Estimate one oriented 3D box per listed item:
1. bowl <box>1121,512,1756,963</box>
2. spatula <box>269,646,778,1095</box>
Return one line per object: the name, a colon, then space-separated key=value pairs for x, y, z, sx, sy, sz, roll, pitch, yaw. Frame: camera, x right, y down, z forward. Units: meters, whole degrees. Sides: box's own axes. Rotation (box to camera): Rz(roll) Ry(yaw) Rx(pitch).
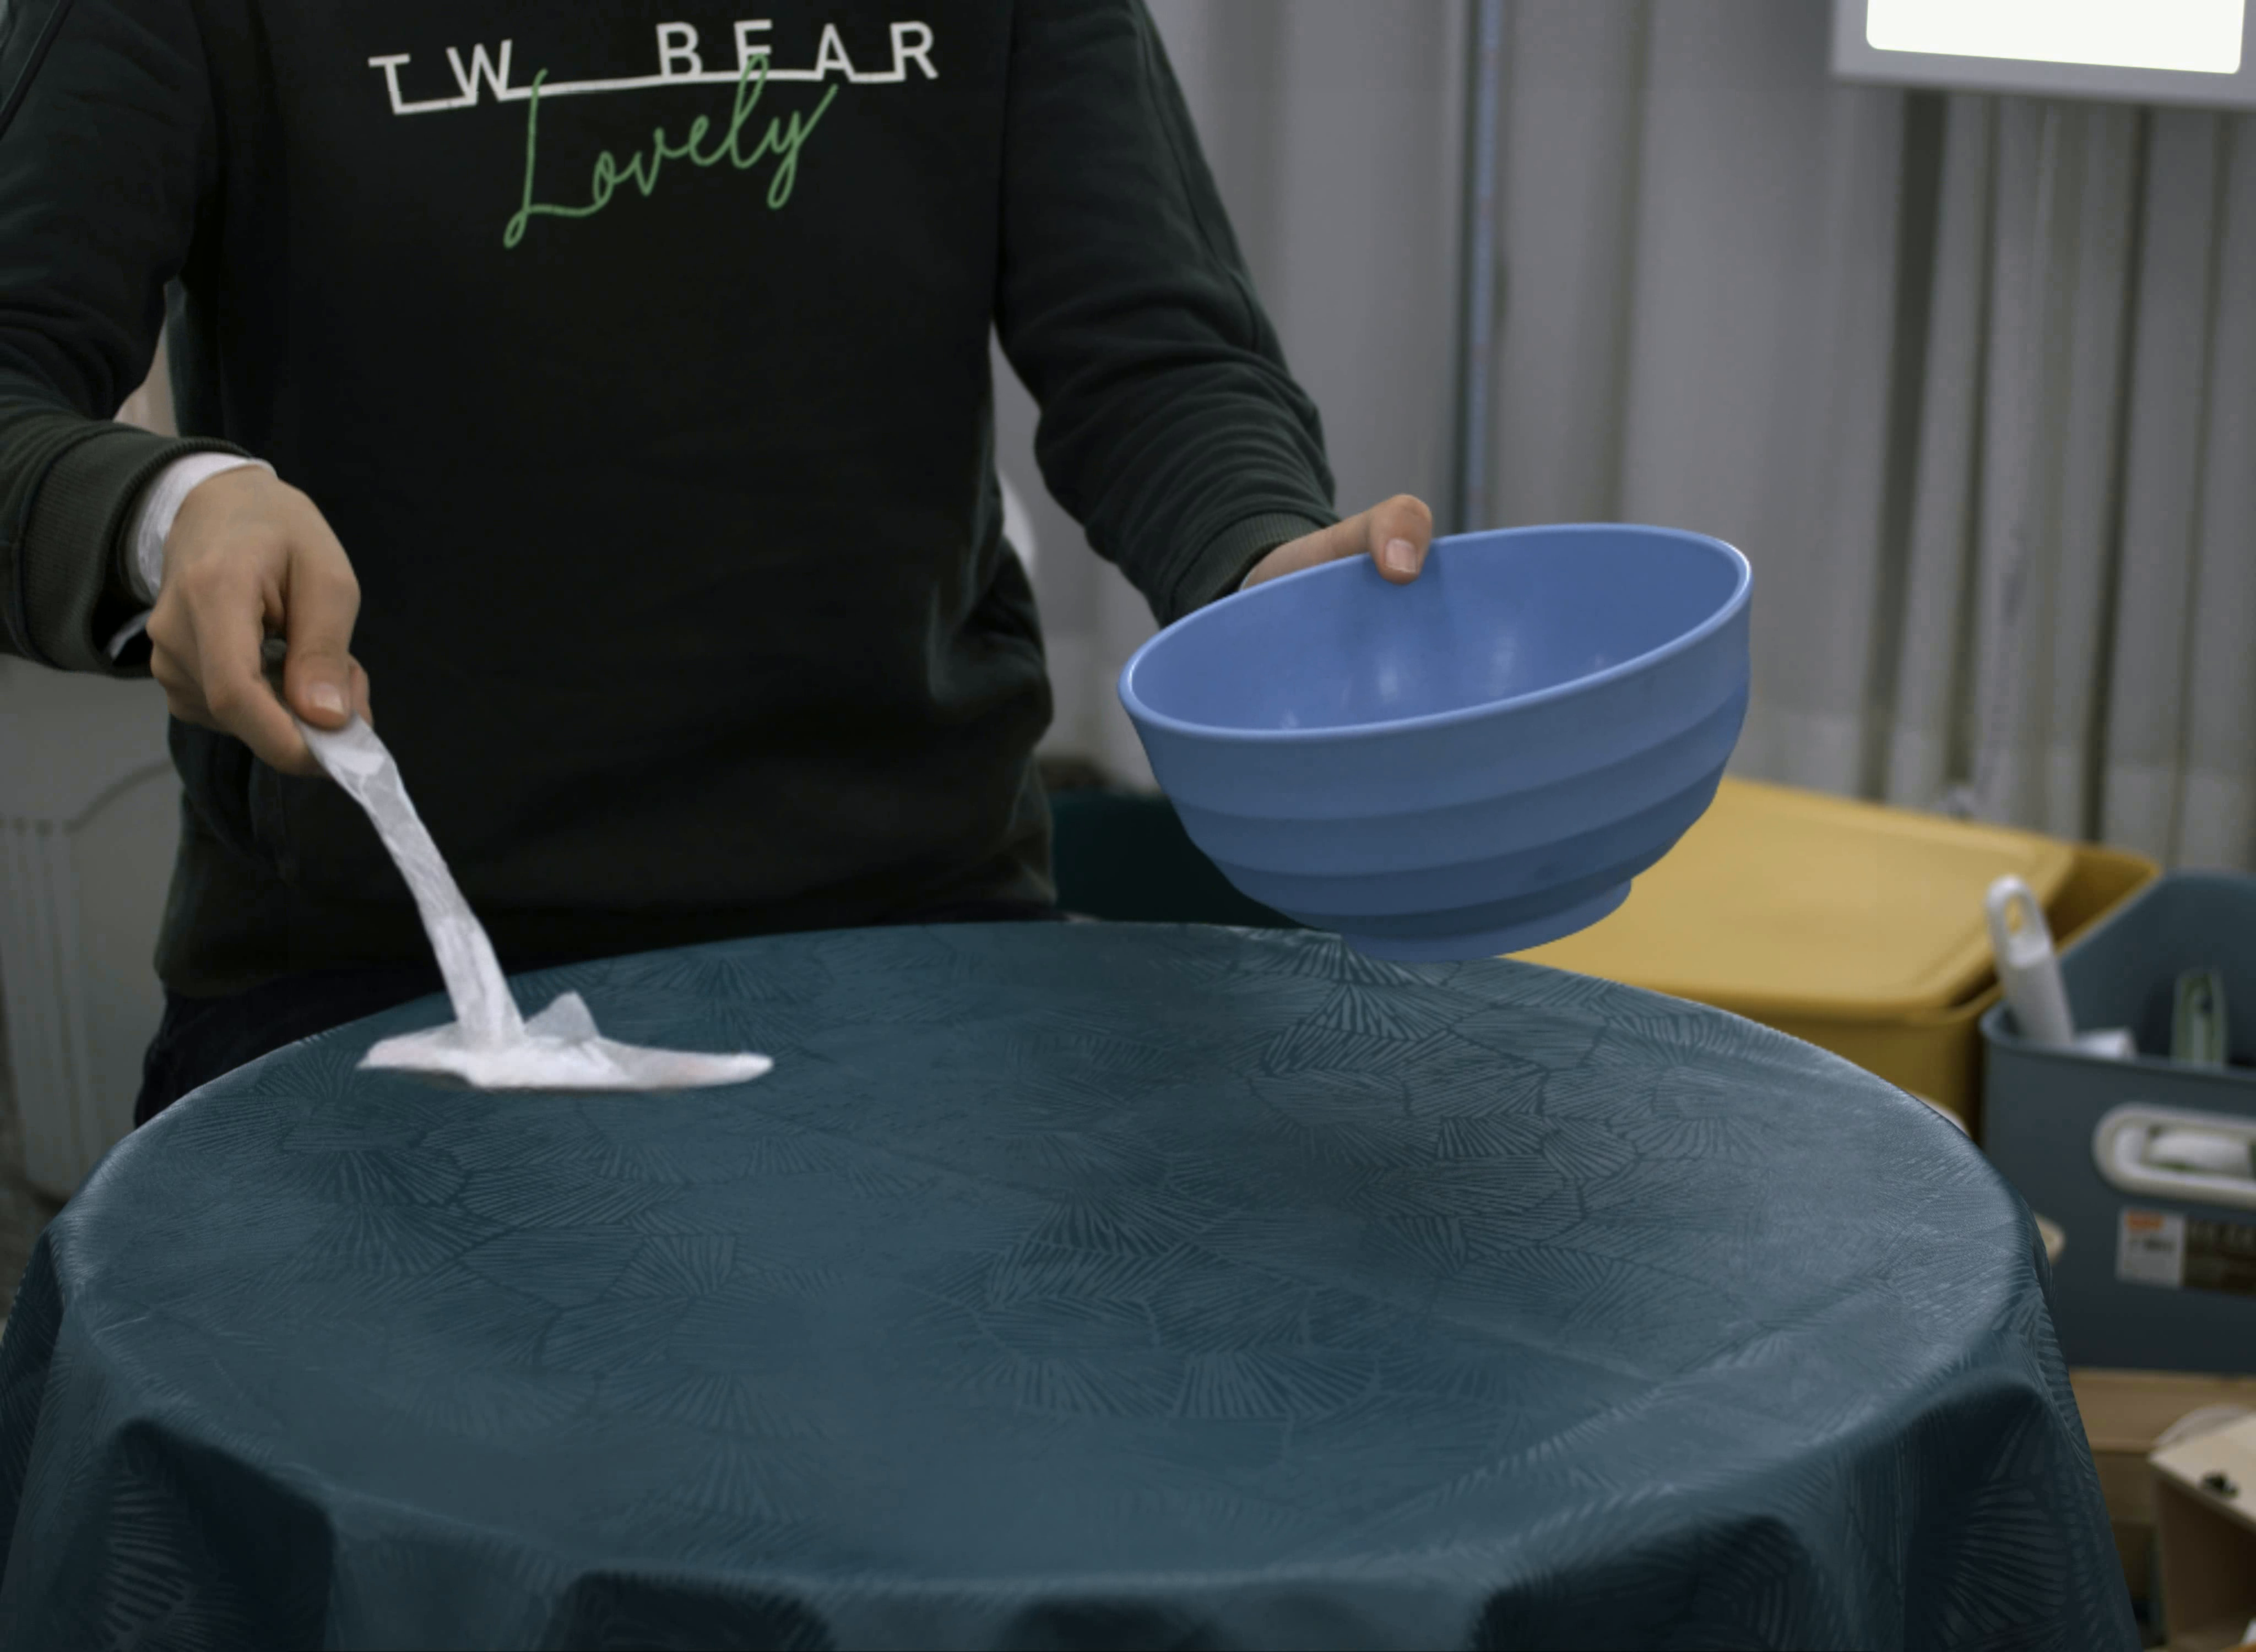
bowl: x=0.102 y=-0.019 z=1.614 sx=0.195 sy=0.096 sz=0.195 roll=-10 pitch=20 yaw=4
spatula: x=-0.193 y=0.004 z=1.458 sx=0.099 sy=0.045 sz=0.360 roll=0 pitch=26 yaw=-23
